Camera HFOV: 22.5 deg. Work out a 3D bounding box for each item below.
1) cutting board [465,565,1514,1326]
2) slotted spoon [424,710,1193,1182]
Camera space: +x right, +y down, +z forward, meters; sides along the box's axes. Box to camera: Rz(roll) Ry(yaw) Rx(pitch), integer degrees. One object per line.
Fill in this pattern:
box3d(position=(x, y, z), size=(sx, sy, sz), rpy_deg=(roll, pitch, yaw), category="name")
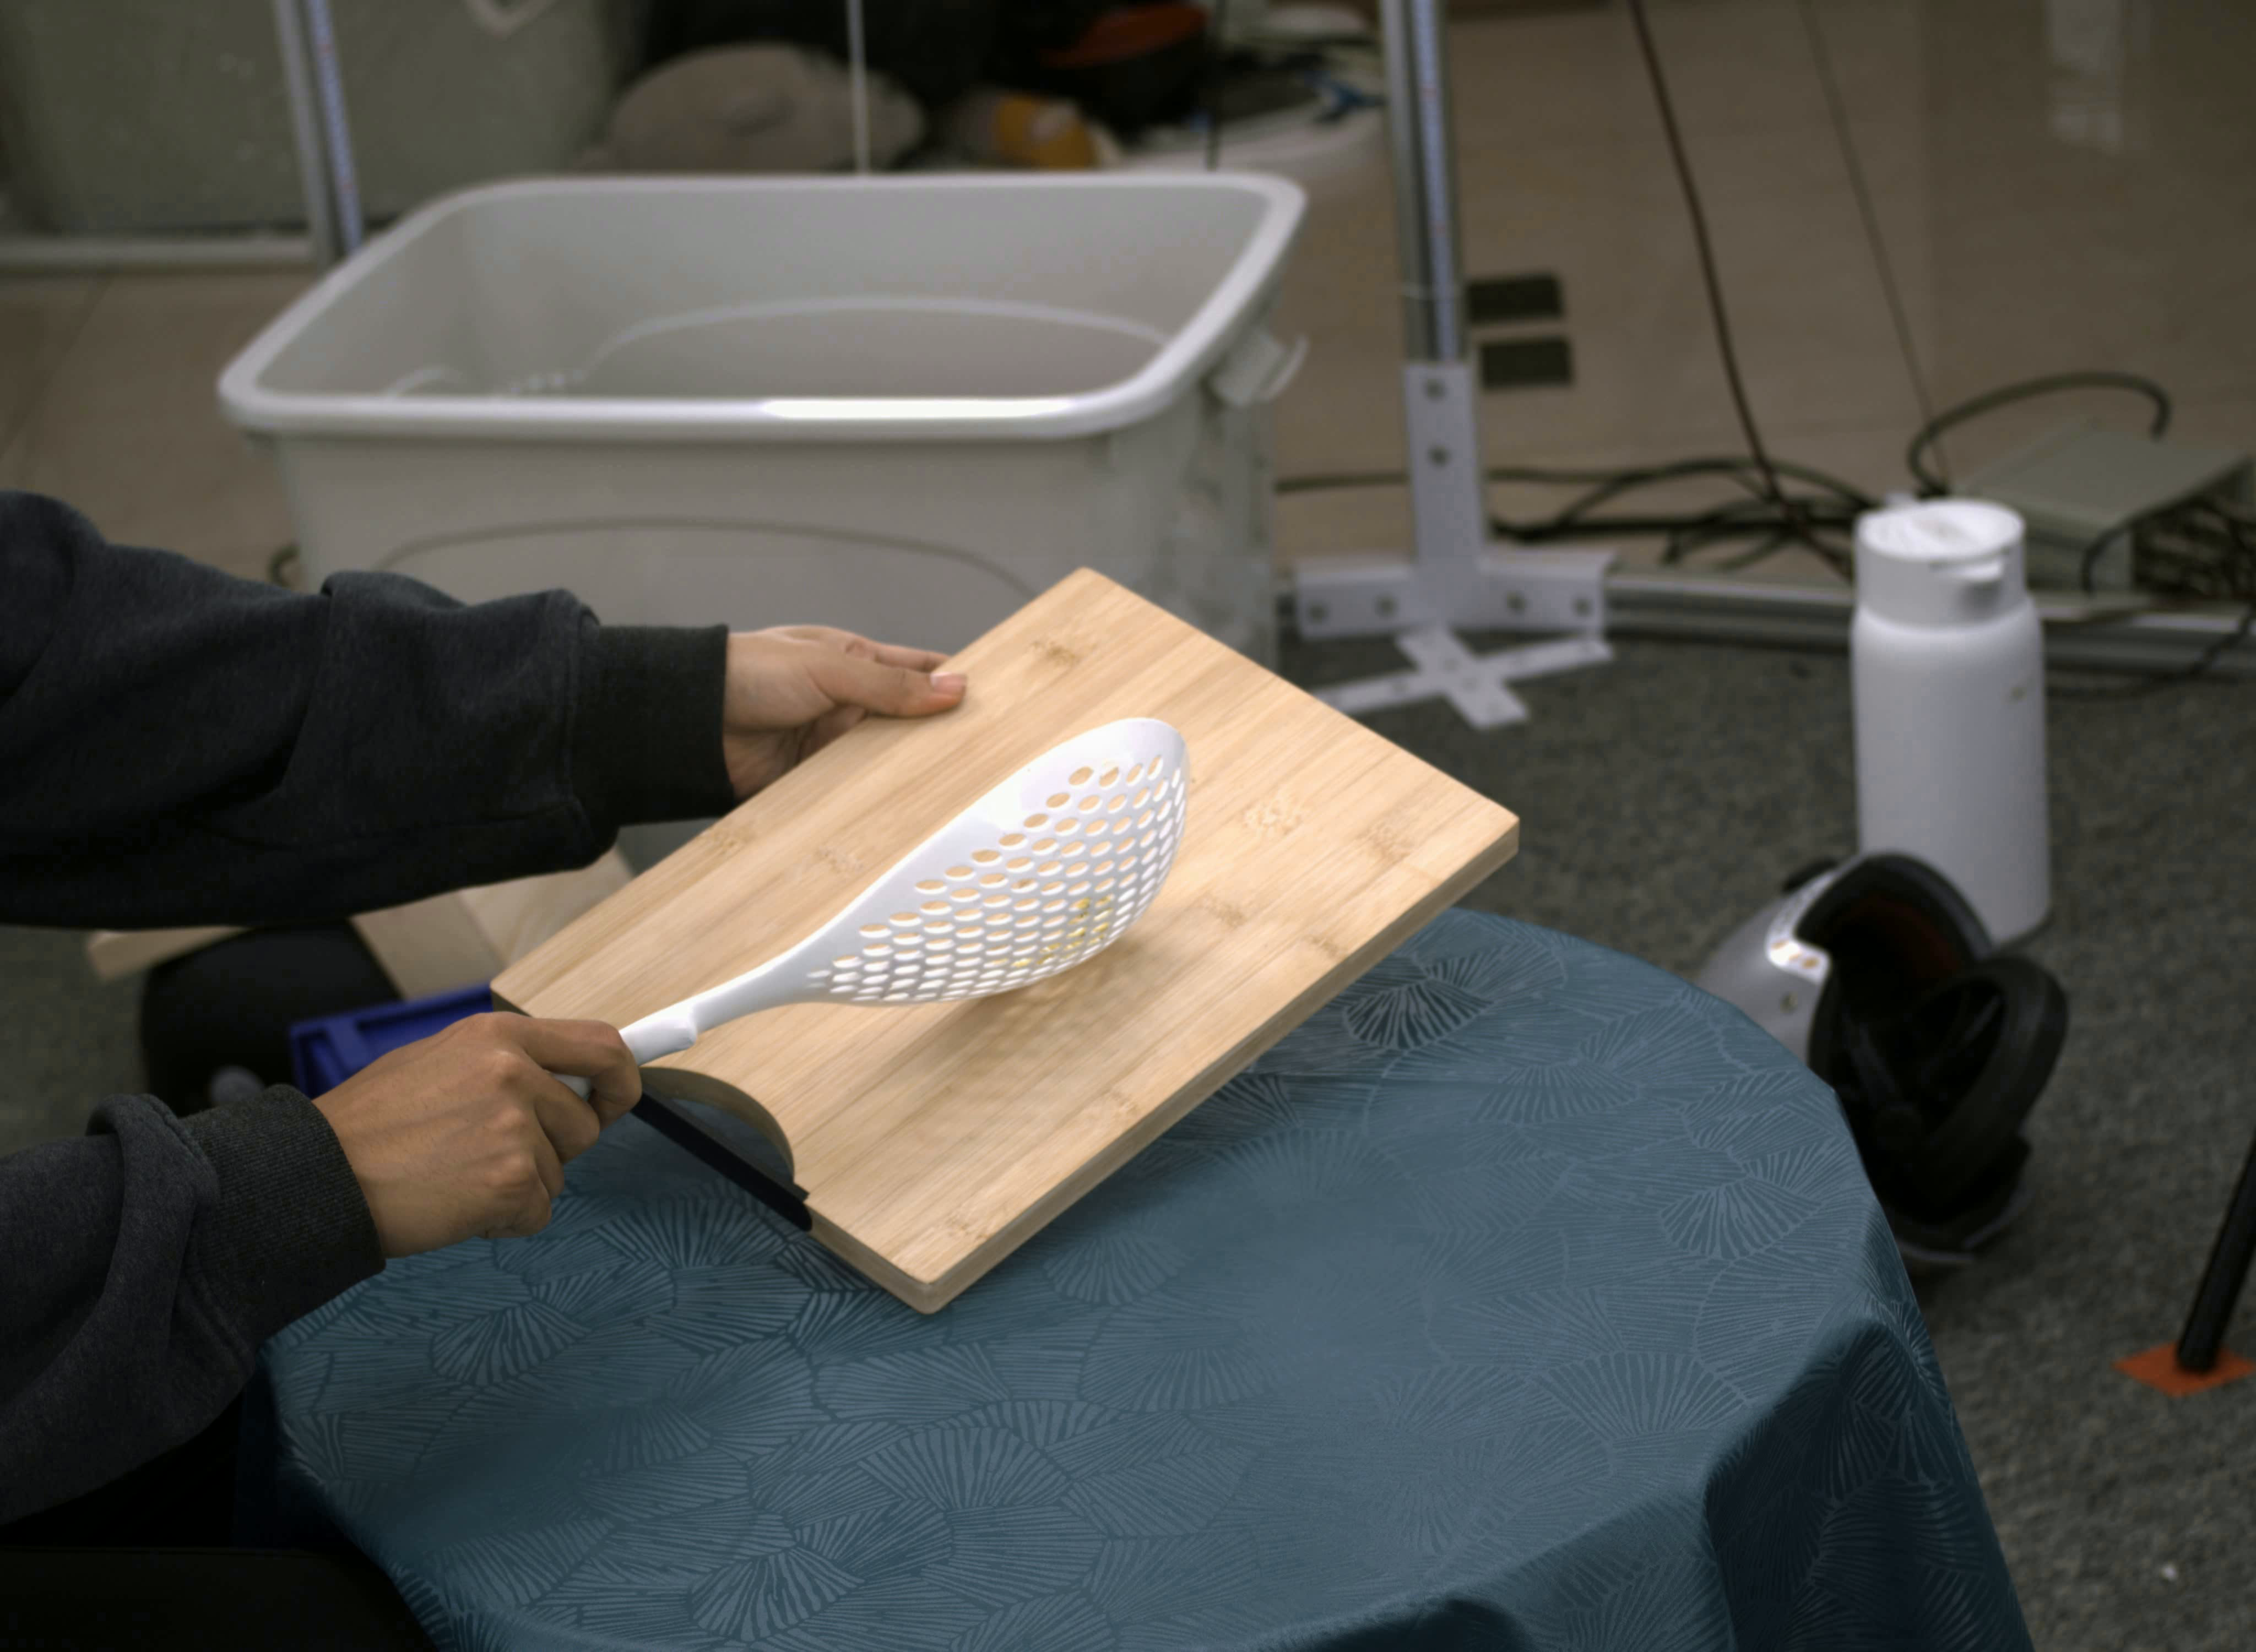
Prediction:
box3d(position=(-0.049, 0.038, 2.217), size=(0.248, 0.024, 0.345), rpy_deg=(31, 52, 30), category="cutting board")
box3d(position=(-0.113, 0.057, 2.077), size=(0.346, 0.139, 0.049), rpy_deg=(-20, 59, -26), category="slotted spoon")
